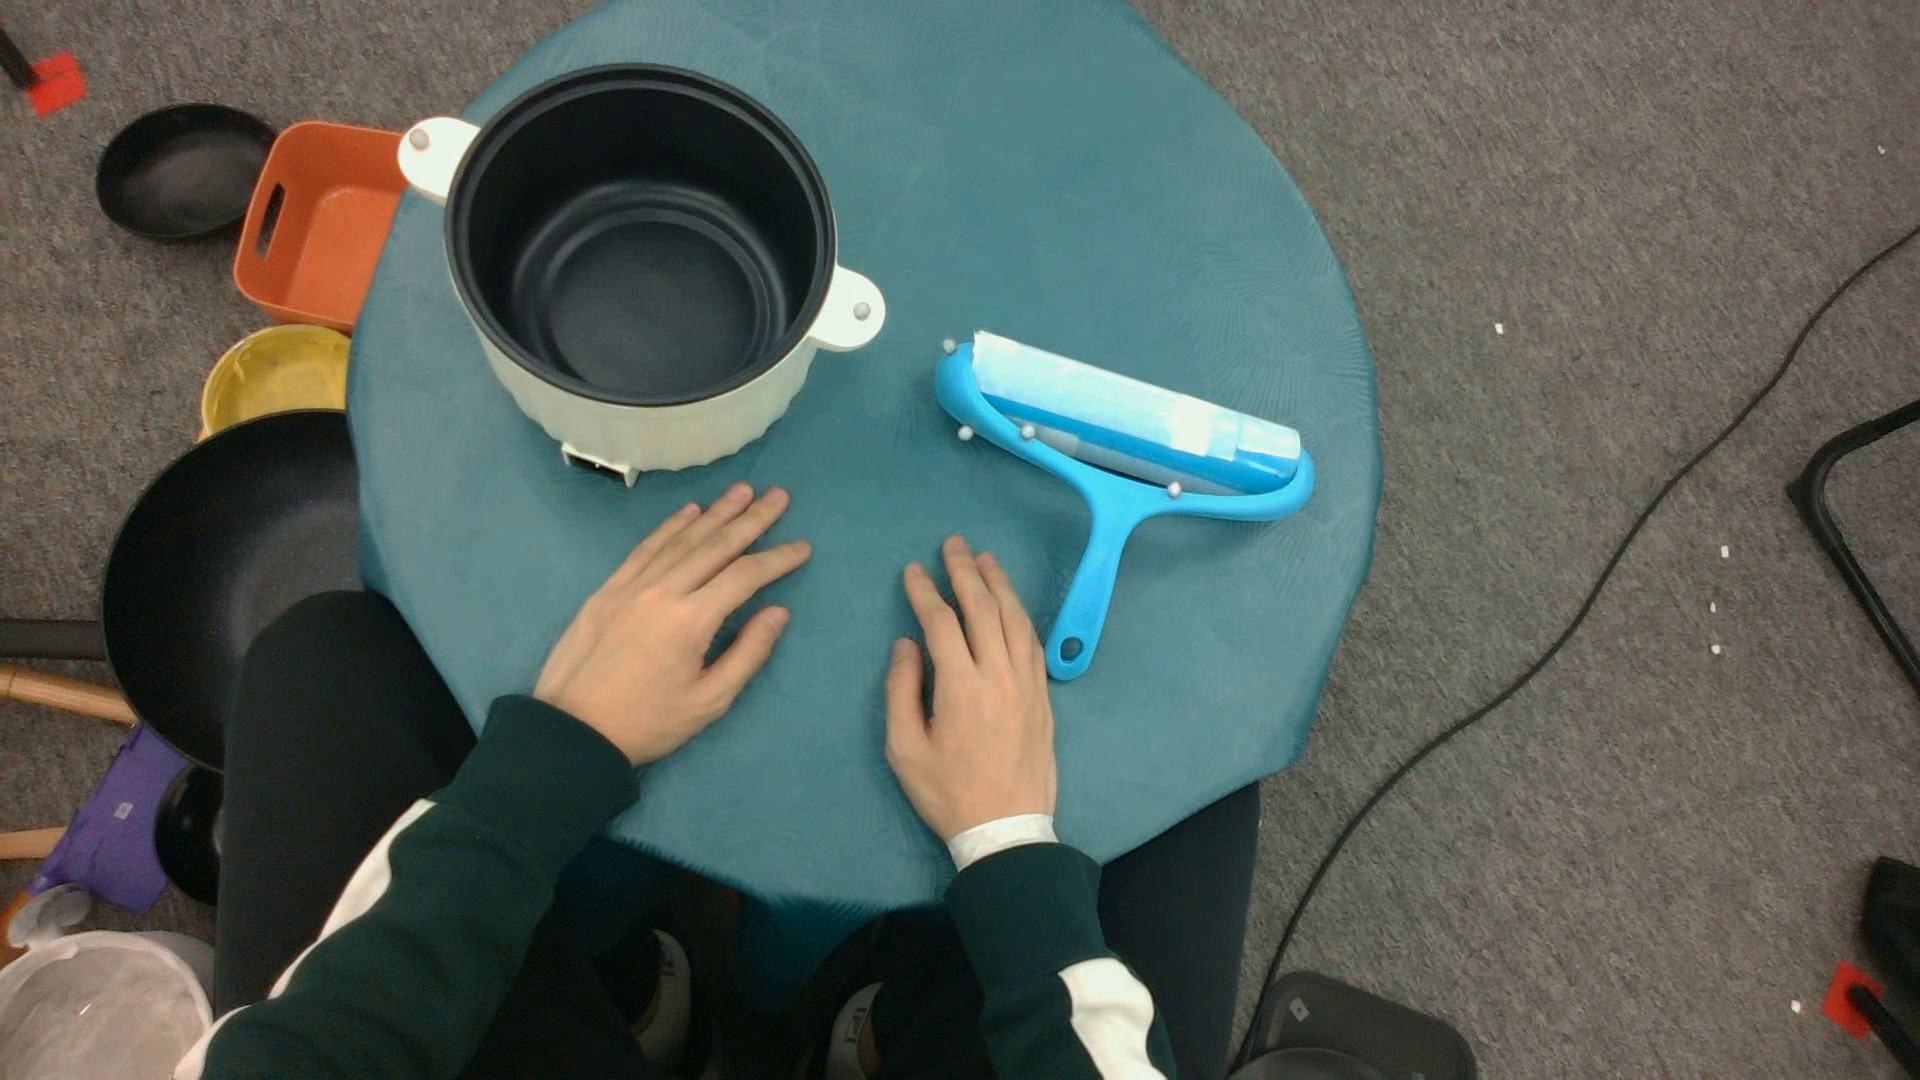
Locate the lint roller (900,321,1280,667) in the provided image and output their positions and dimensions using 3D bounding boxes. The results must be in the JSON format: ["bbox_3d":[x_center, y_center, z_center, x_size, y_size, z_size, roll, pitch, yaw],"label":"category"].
[{"bbox_3d":[0.067,-0.020,0.775,0.229,0.067,0.181,13,70,-9],"label":"lint roller"}]

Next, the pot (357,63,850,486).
[{"bbox_3d":[-0.179,-0.136,0.719,0.240,0.142,0.191,18,74,-7],"label":"pot"}]
